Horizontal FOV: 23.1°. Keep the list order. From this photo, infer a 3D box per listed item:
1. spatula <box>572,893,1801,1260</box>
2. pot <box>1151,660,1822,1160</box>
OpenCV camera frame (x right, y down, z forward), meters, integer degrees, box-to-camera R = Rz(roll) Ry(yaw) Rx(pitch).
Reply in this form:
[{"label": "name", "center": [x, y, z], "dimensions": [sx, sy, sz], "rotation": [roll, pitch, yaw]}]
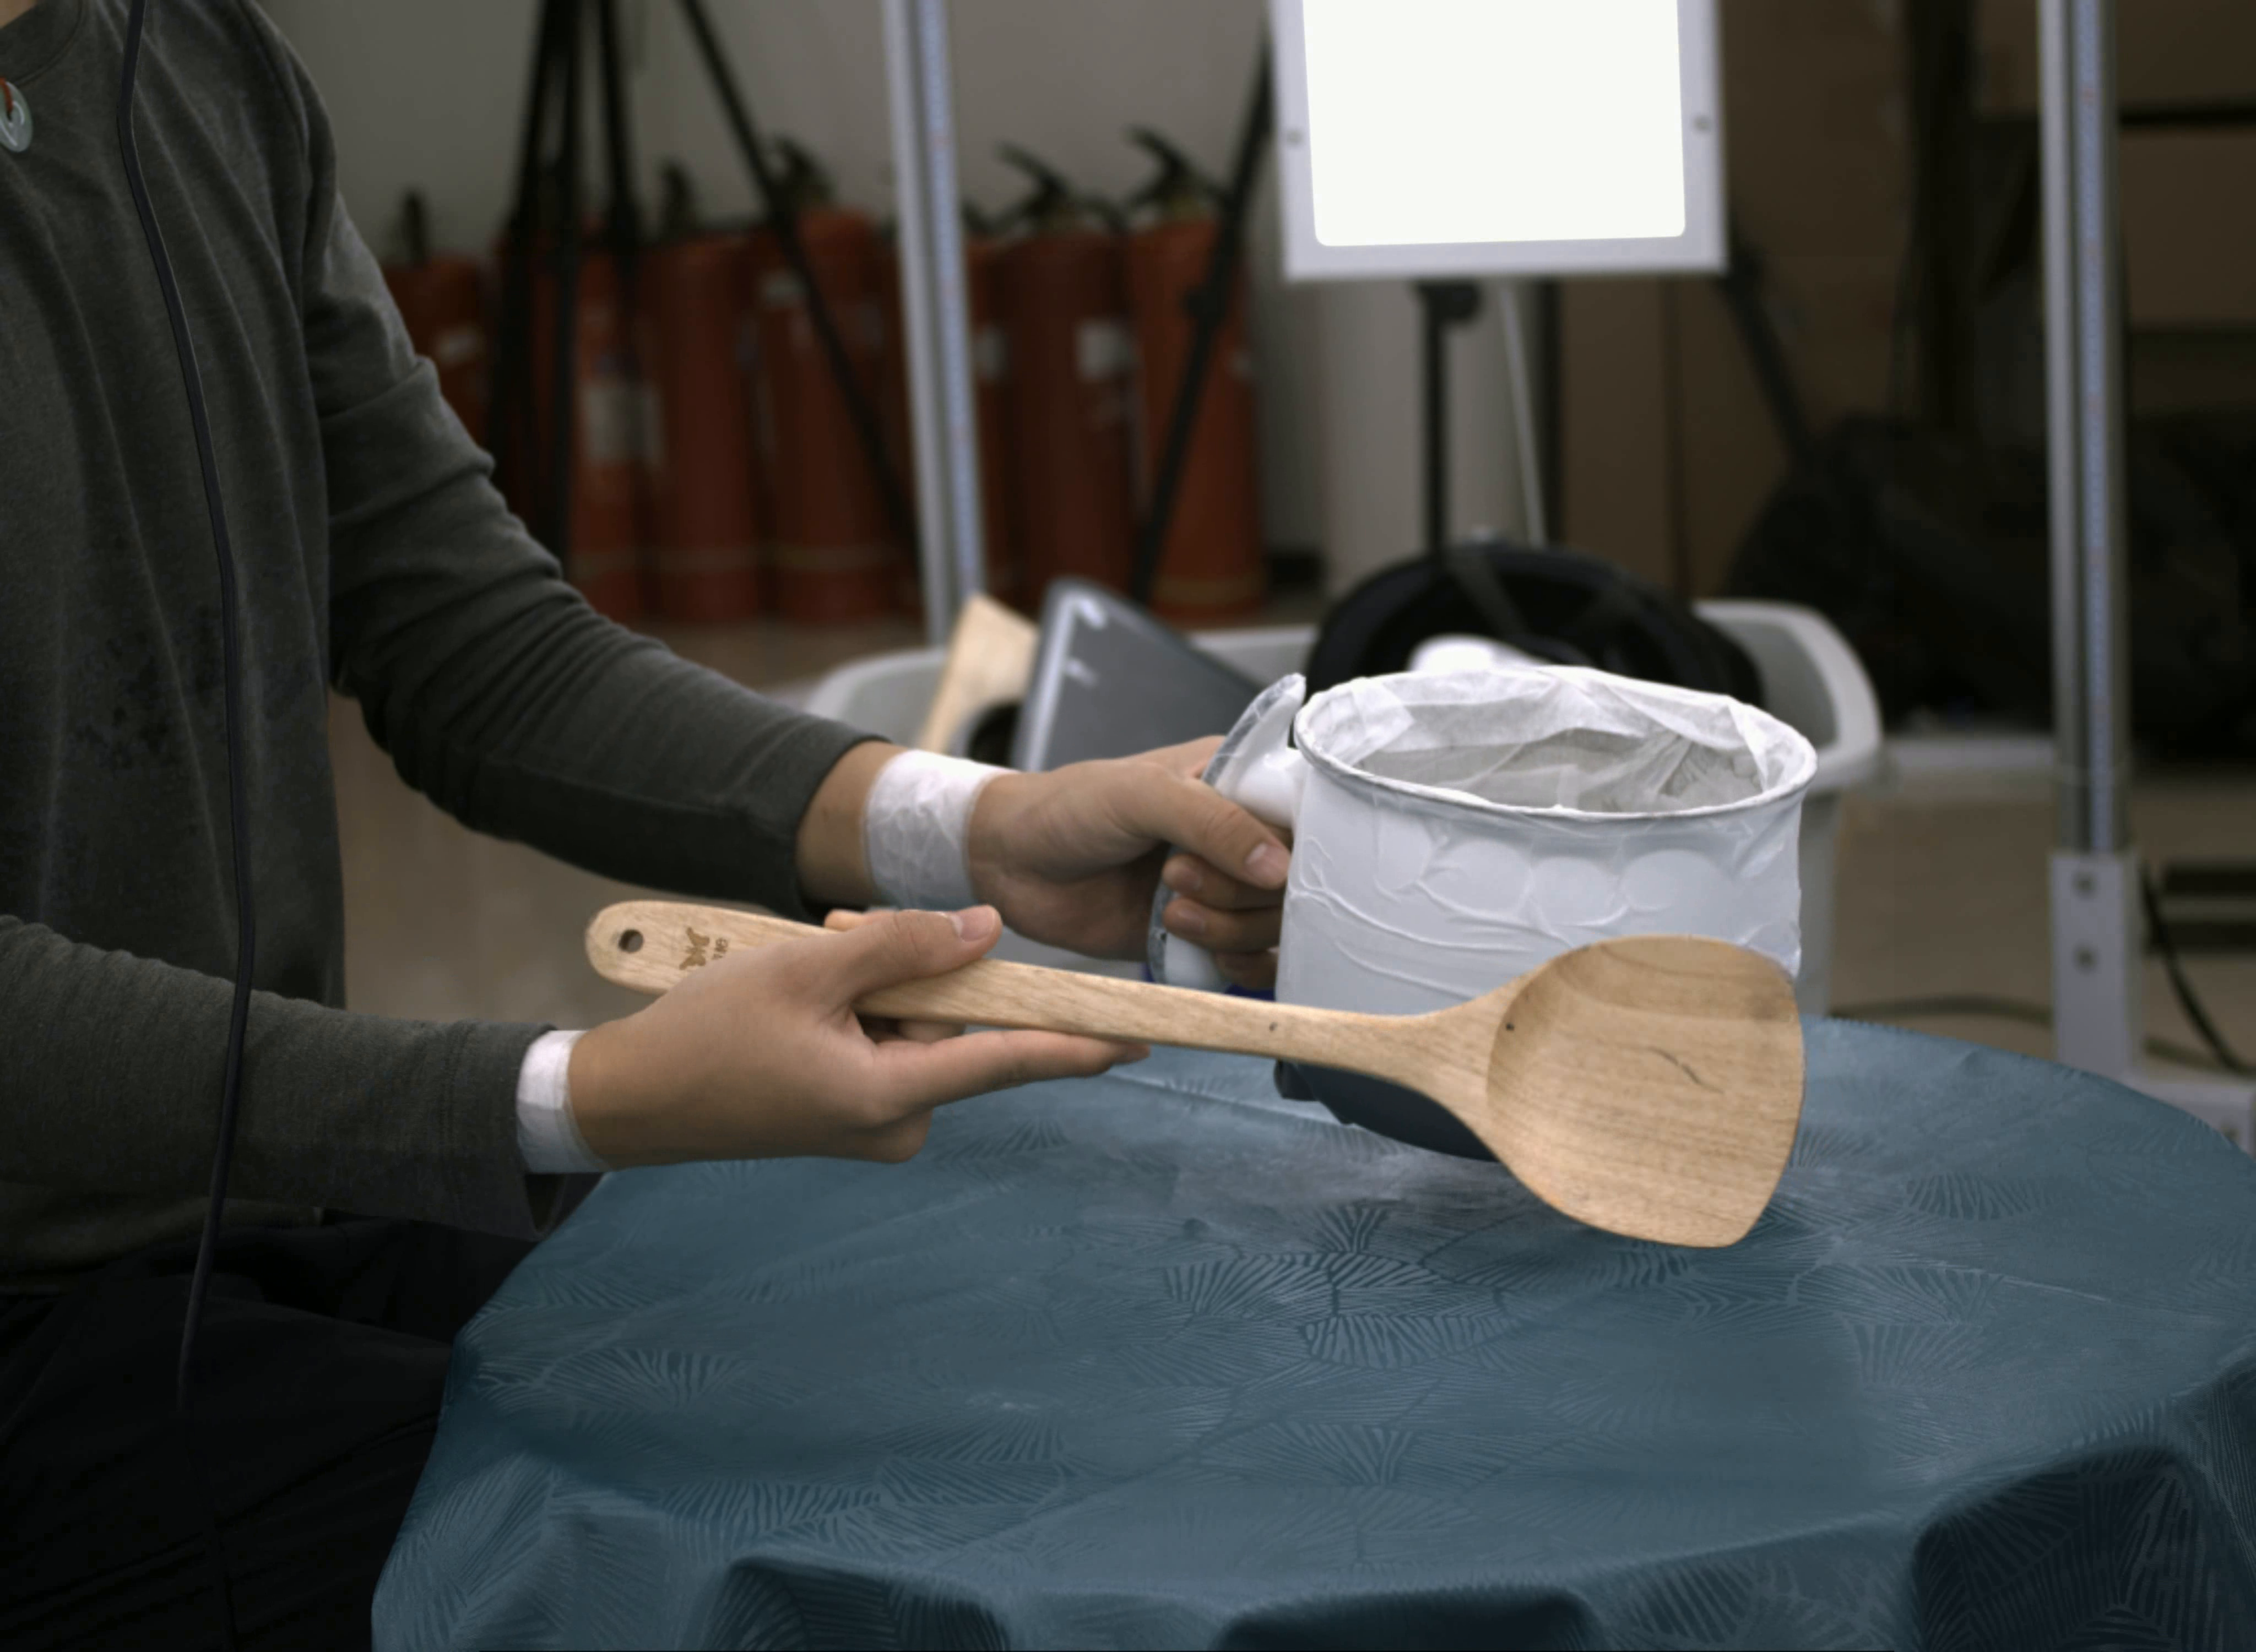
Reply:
[{"label": "spatula", "center": [0.011, 0.061, 1.669], "dimensions": [0.395, 0.096, 0.018], "rotation": [7, -6, 17]}, {"label": "pot", "center": [0.117, 0.024, 1.874], "dimensions": [0.237, 0.137, 0.175], "rotation": [11, 19, 26]}]
